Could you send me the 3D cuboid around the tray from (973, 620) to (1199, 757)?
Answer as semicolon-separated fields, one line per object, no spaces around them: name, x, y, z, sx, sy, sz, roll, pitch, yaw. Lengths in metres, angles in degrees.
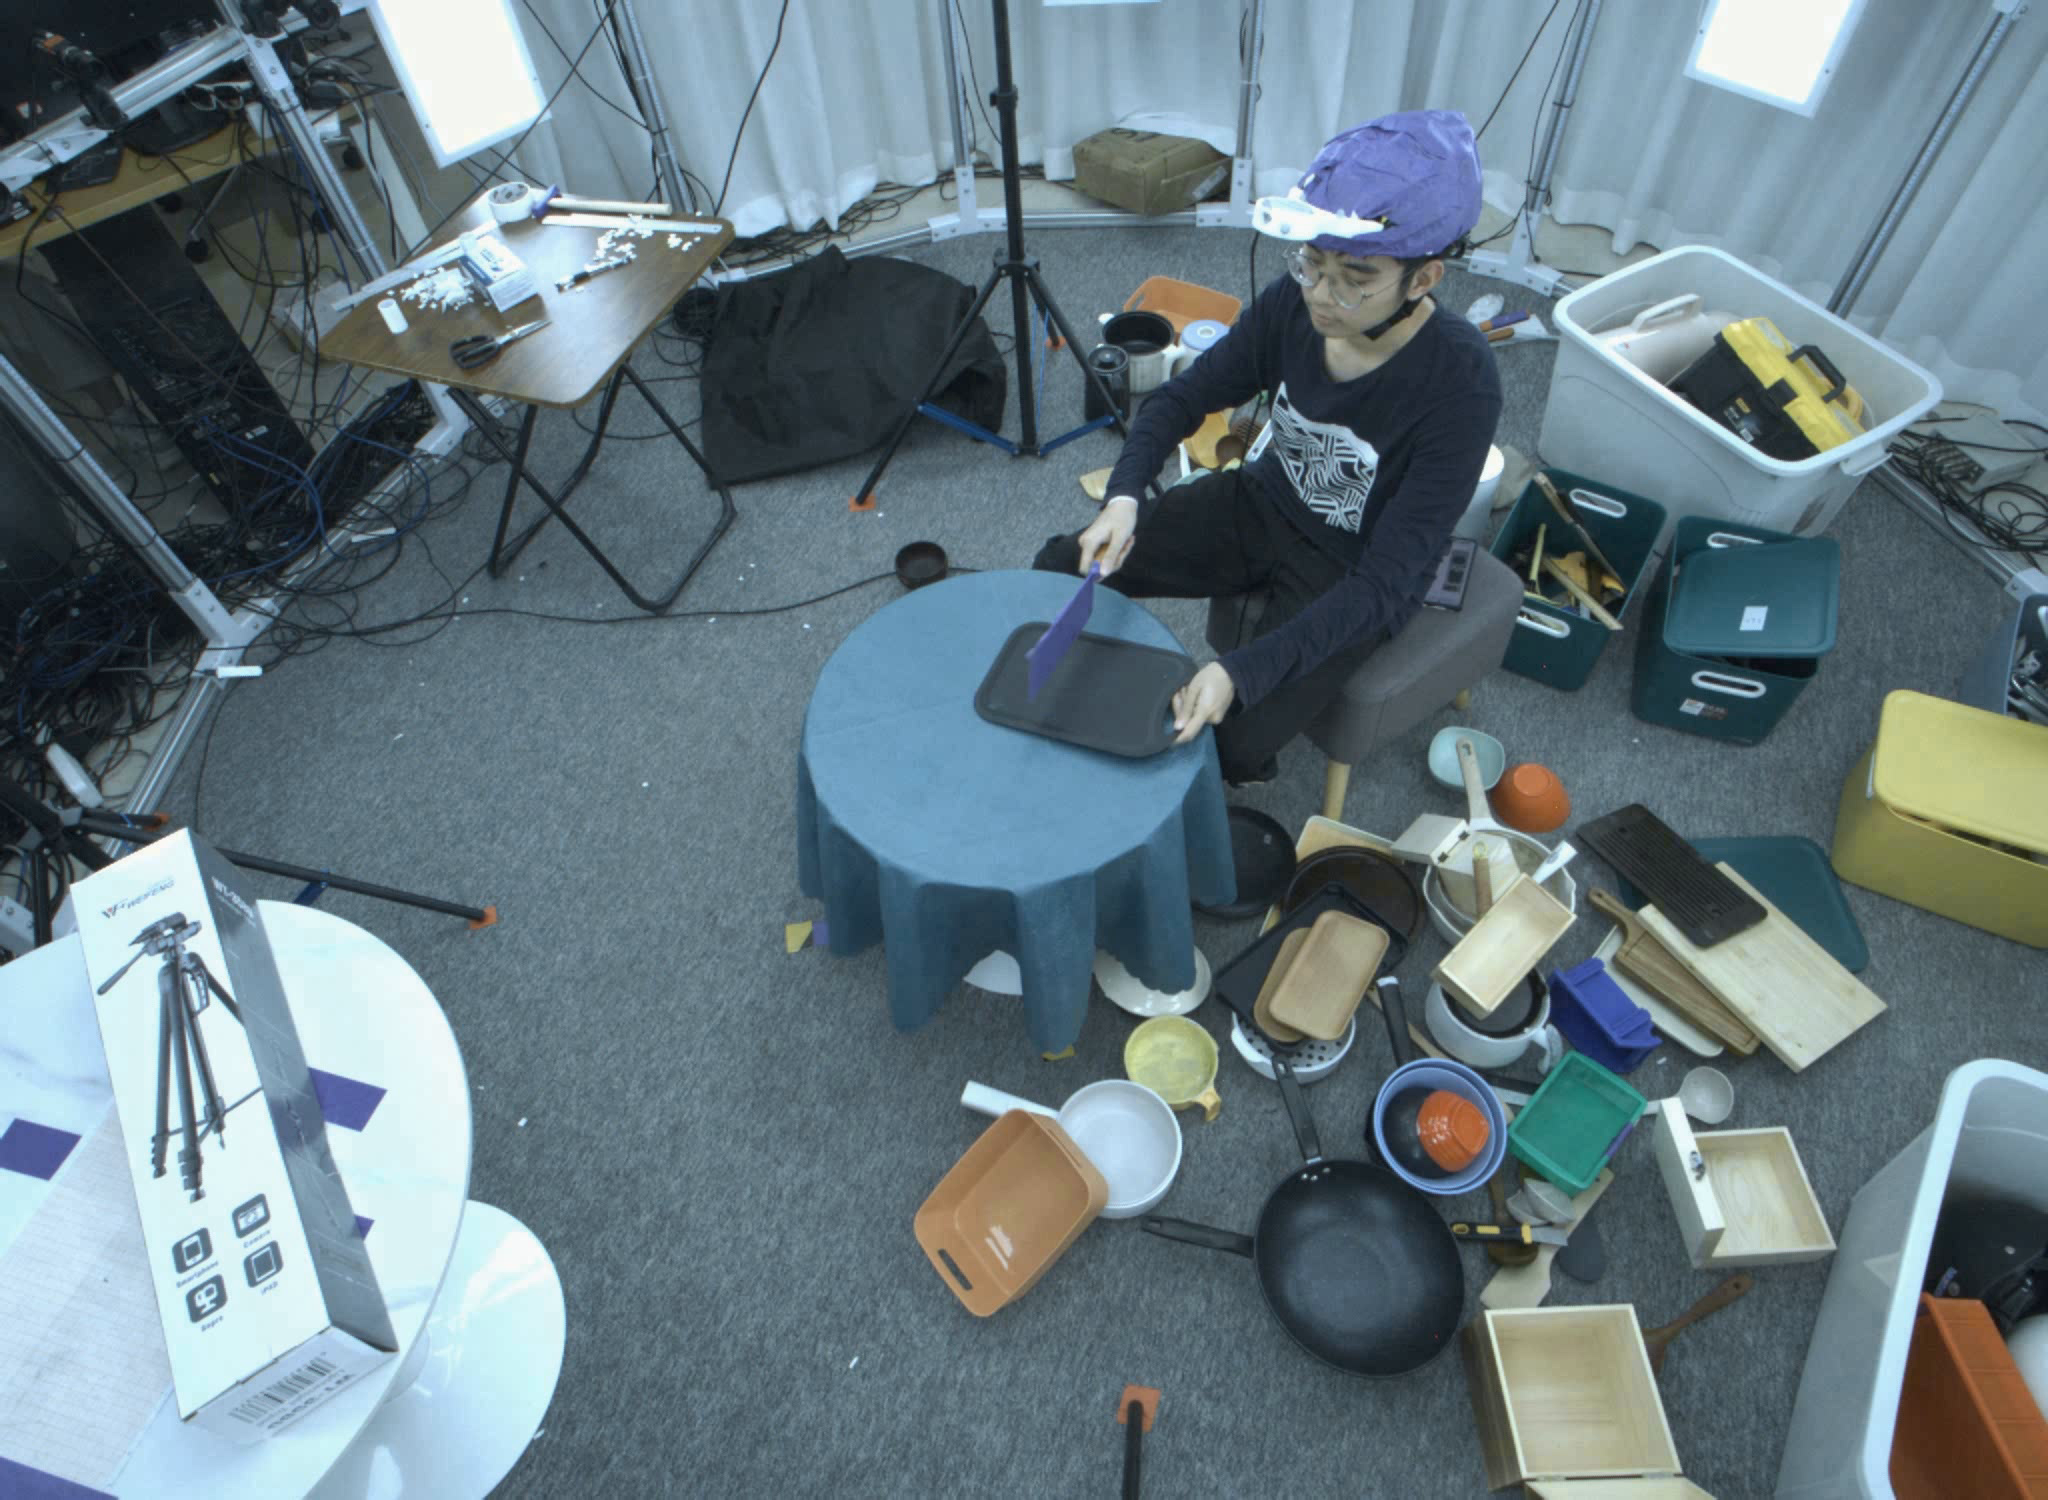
tray;0.098;-0.096;1.842;0.321;0.010;0.211;16;56;18

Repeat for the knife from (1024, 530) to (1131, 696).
knife;0.077;-0.206;1.828;0.032;0.105;0.316;24;54;17
